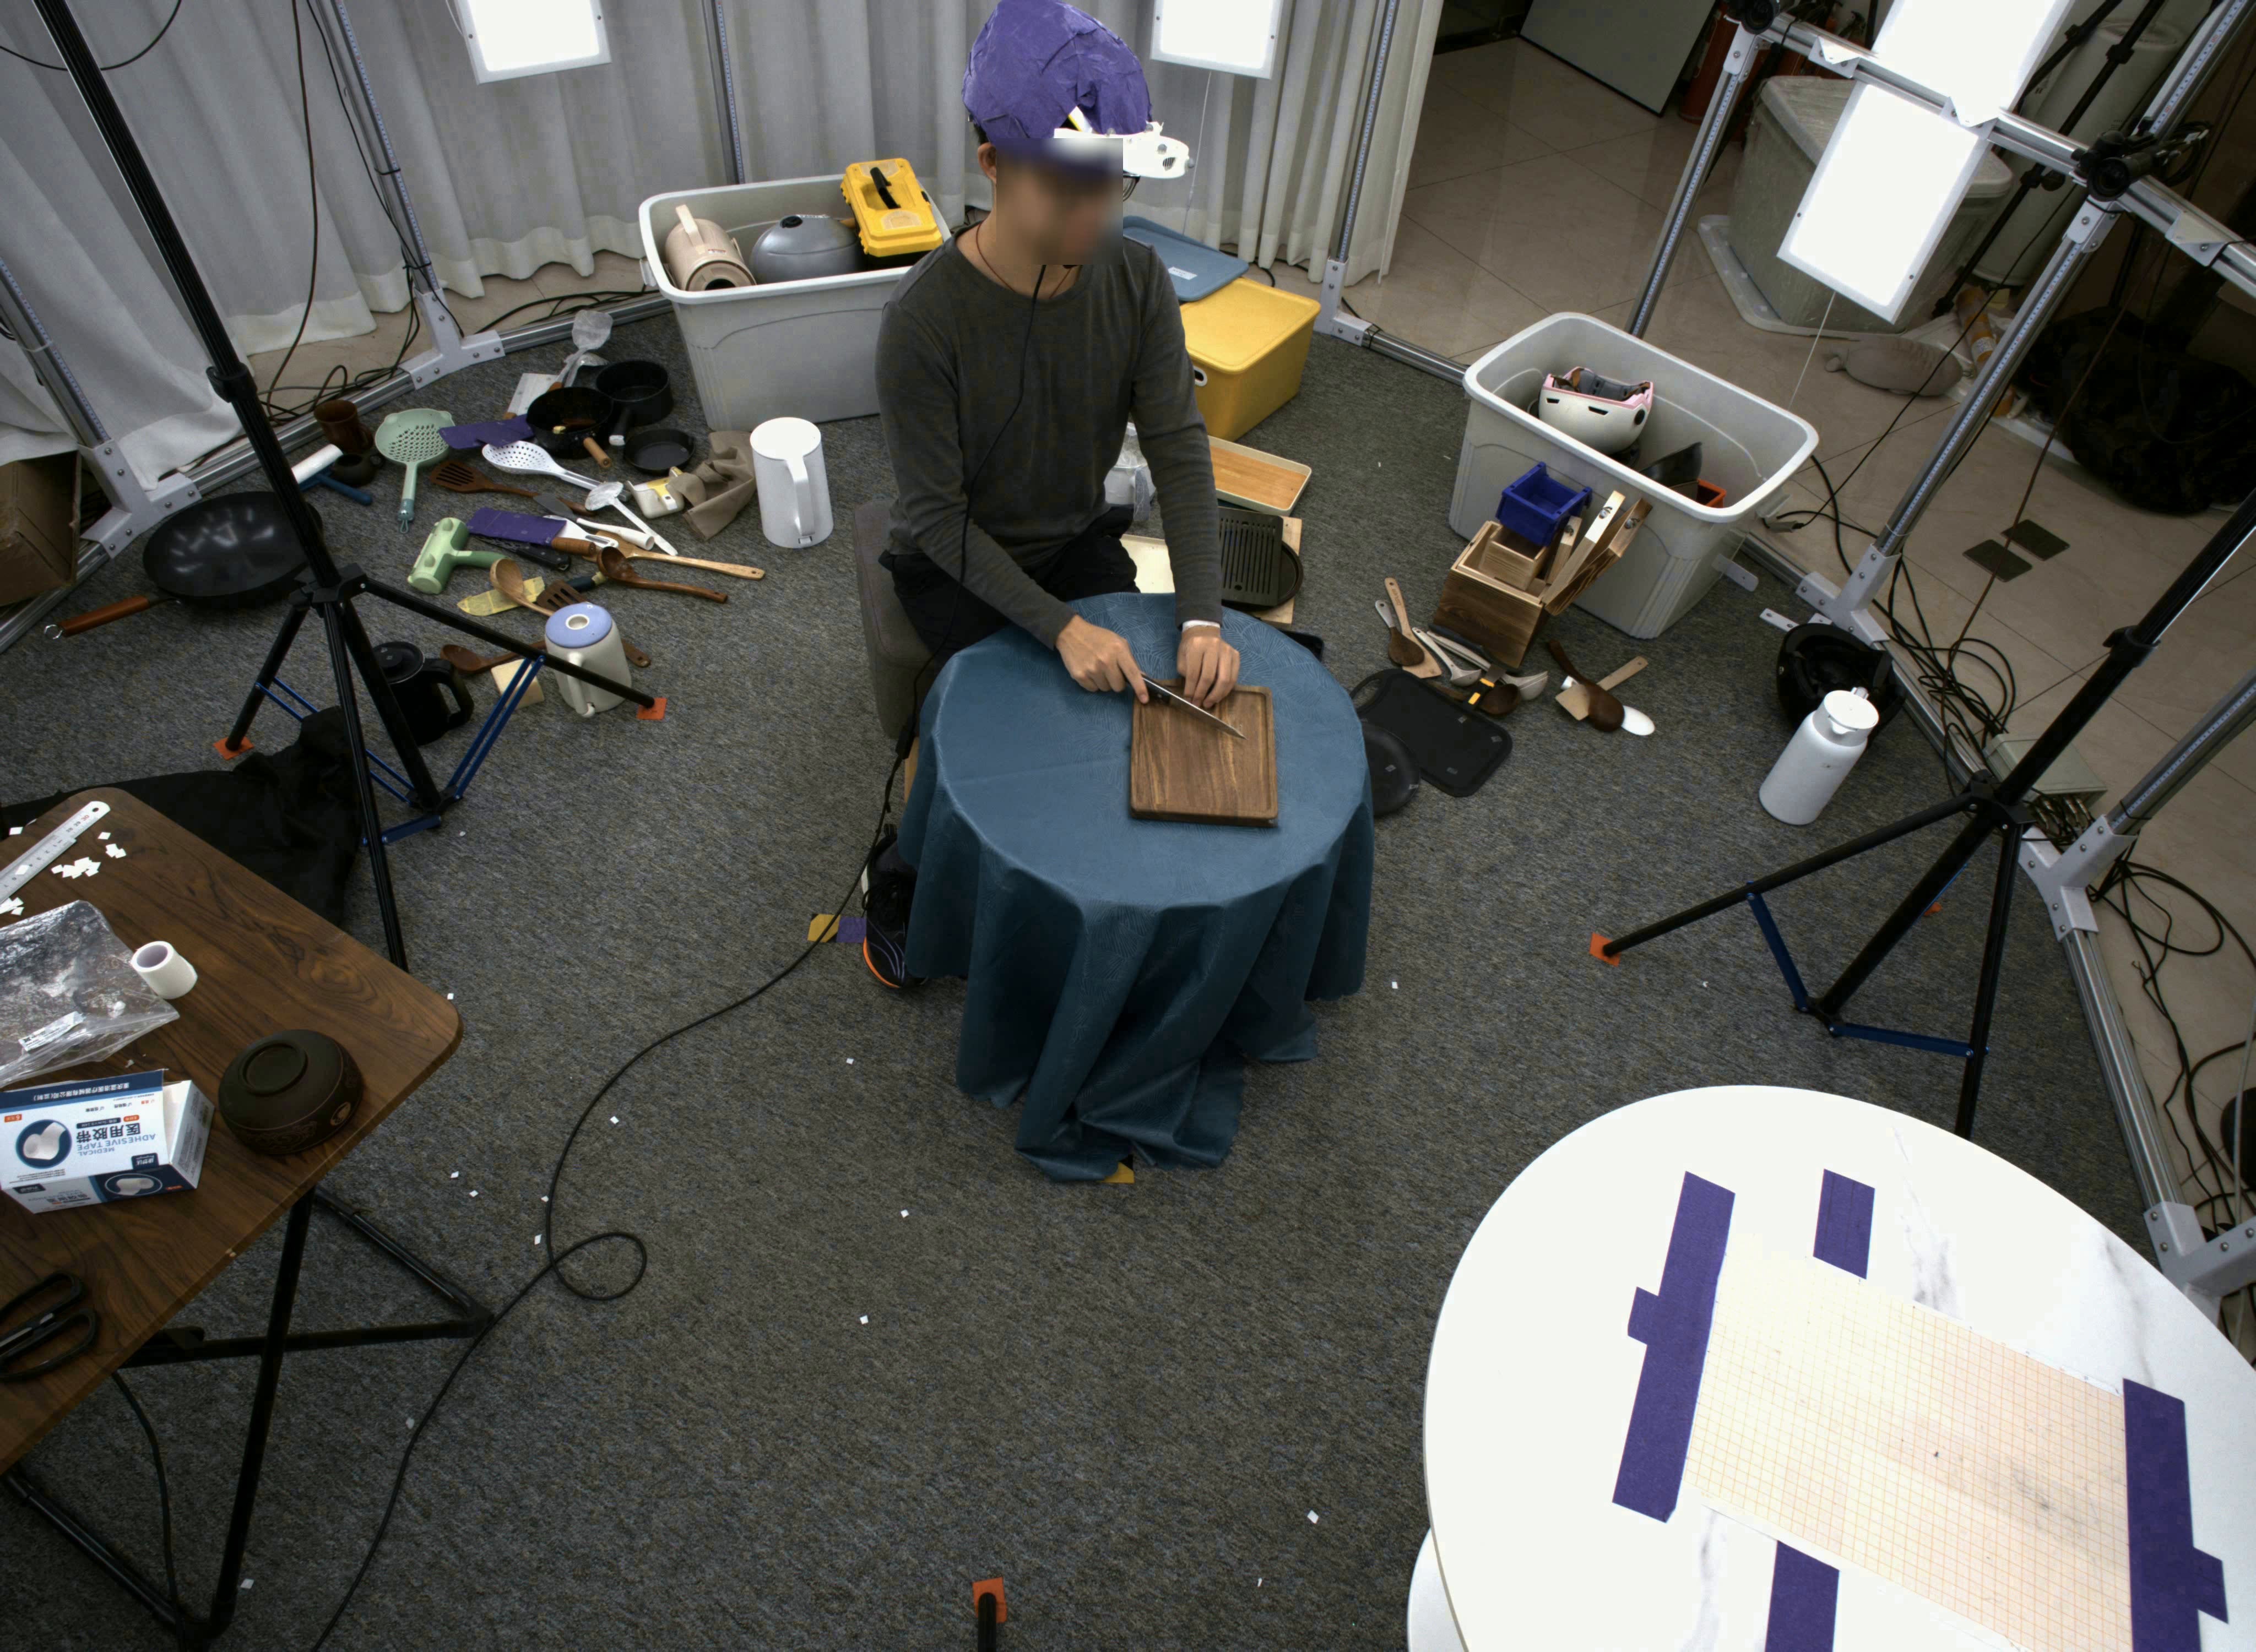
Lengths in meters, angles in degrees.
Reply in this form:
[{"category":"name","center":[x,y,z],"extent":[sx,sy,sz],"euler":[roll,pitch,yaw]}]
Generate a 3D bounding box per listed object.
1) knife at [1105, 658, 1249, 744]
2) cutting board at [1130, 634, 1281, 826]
[{"category":"knife","center":[0.068,-0.175,1.783],"extent":[0.240,0.024,0.016],"euler":[31,50,17]},{"category":"cutting board","center":[0.105,-0.143,1.786],"extent":[0.201,0.022,0.361],"euler":[3,49,-2]}]
